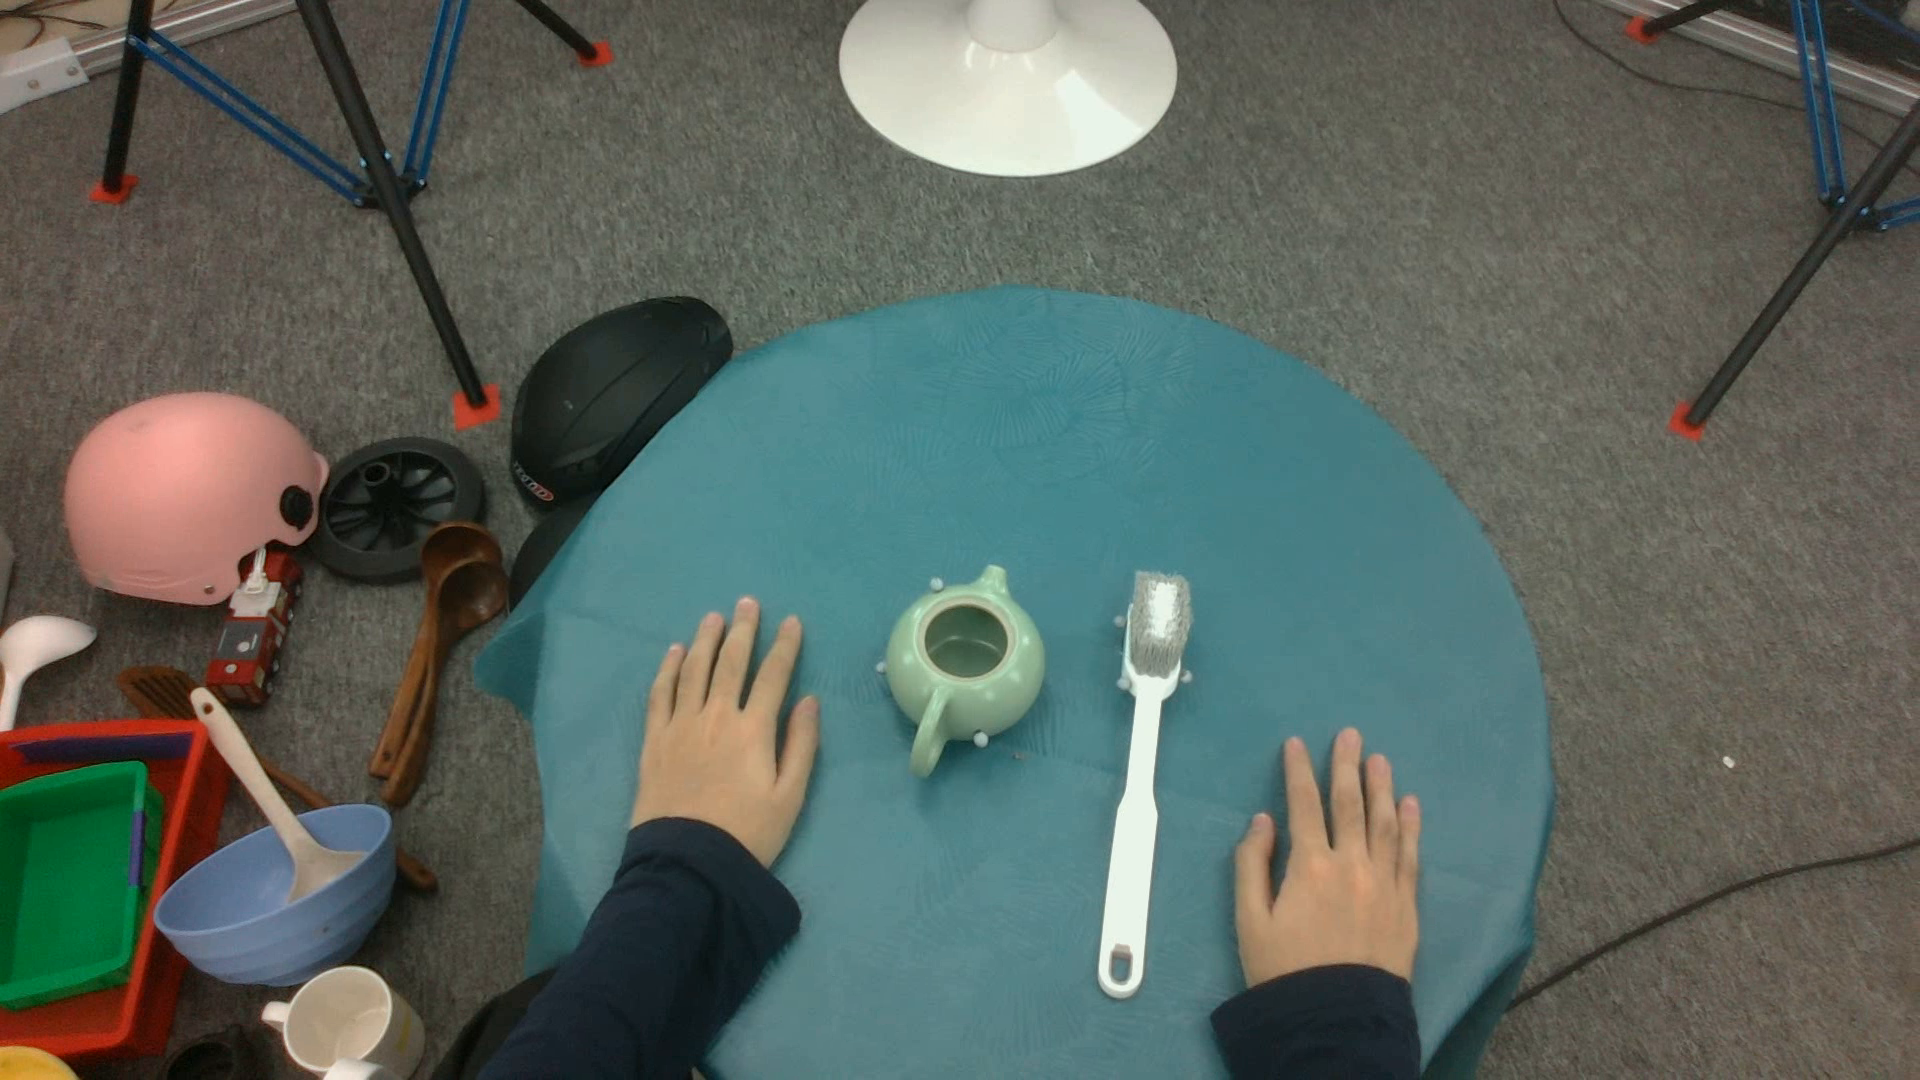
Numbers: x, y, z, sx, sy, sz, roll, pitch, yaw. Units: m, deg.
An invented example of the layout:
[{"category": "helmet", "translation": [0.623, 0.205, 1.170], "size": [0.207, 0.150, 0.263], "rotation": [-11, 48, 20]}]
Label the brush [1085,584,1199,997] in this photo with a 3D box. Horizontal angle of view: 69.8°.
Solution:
[{"category": "brush", "translation": [0.103, 0.130, 0.772], "size": [0.034, 0.050, 0.245], "rotation": [13, 55, 2]}]

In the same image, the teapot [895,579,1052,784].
[{"category": "teapot", "translation": [0.003, 0.085, 0.796], "size": [0.091, 0.060, 0.129], "rotation": [25, 59, 9]}]
